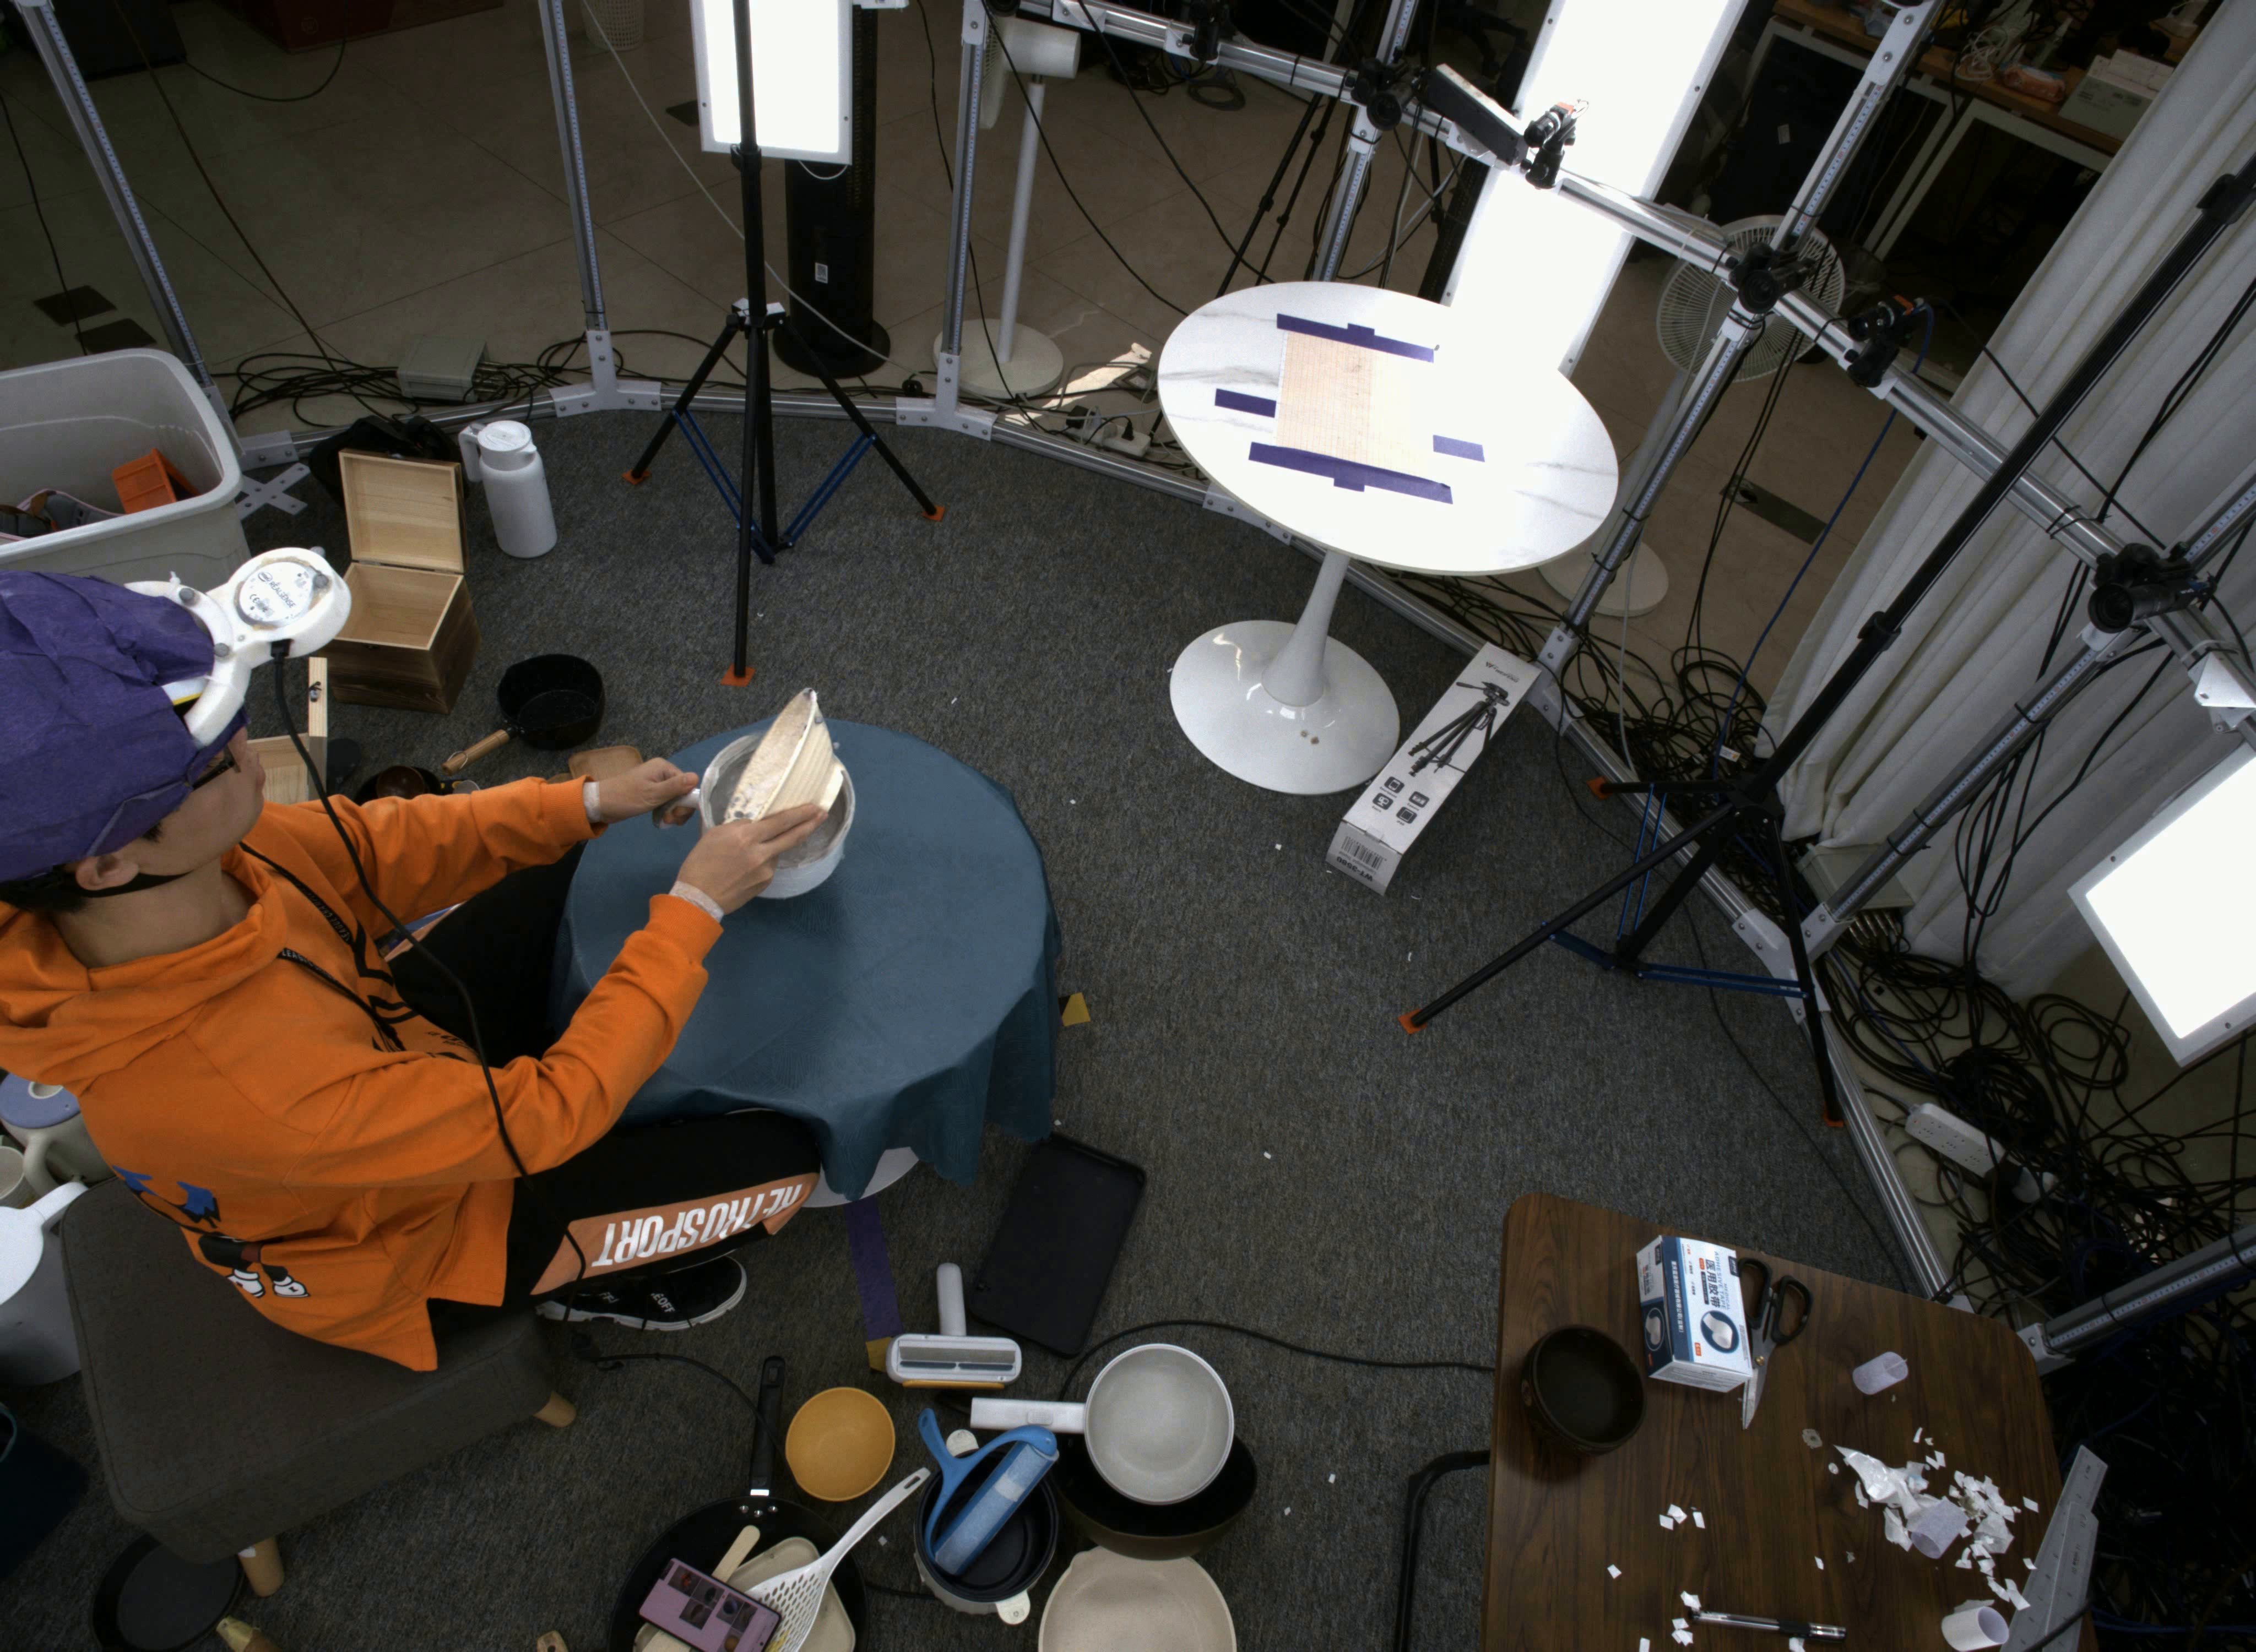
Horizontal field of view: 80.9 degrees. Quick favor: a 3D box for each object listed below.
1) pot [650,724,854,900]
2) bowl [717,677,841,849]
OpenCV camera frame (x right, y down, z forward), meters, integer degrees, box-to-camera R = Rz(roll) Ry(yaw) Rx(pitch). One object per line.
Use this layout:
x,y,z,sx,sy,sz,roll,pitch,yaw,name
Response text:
-0.447,-0.016,1.530,0.235,0.137,0.177,7,66,-17,pot
-0.372,-0.055,1.428,0.080,0.202,0.200,27,45,-27,bowl
